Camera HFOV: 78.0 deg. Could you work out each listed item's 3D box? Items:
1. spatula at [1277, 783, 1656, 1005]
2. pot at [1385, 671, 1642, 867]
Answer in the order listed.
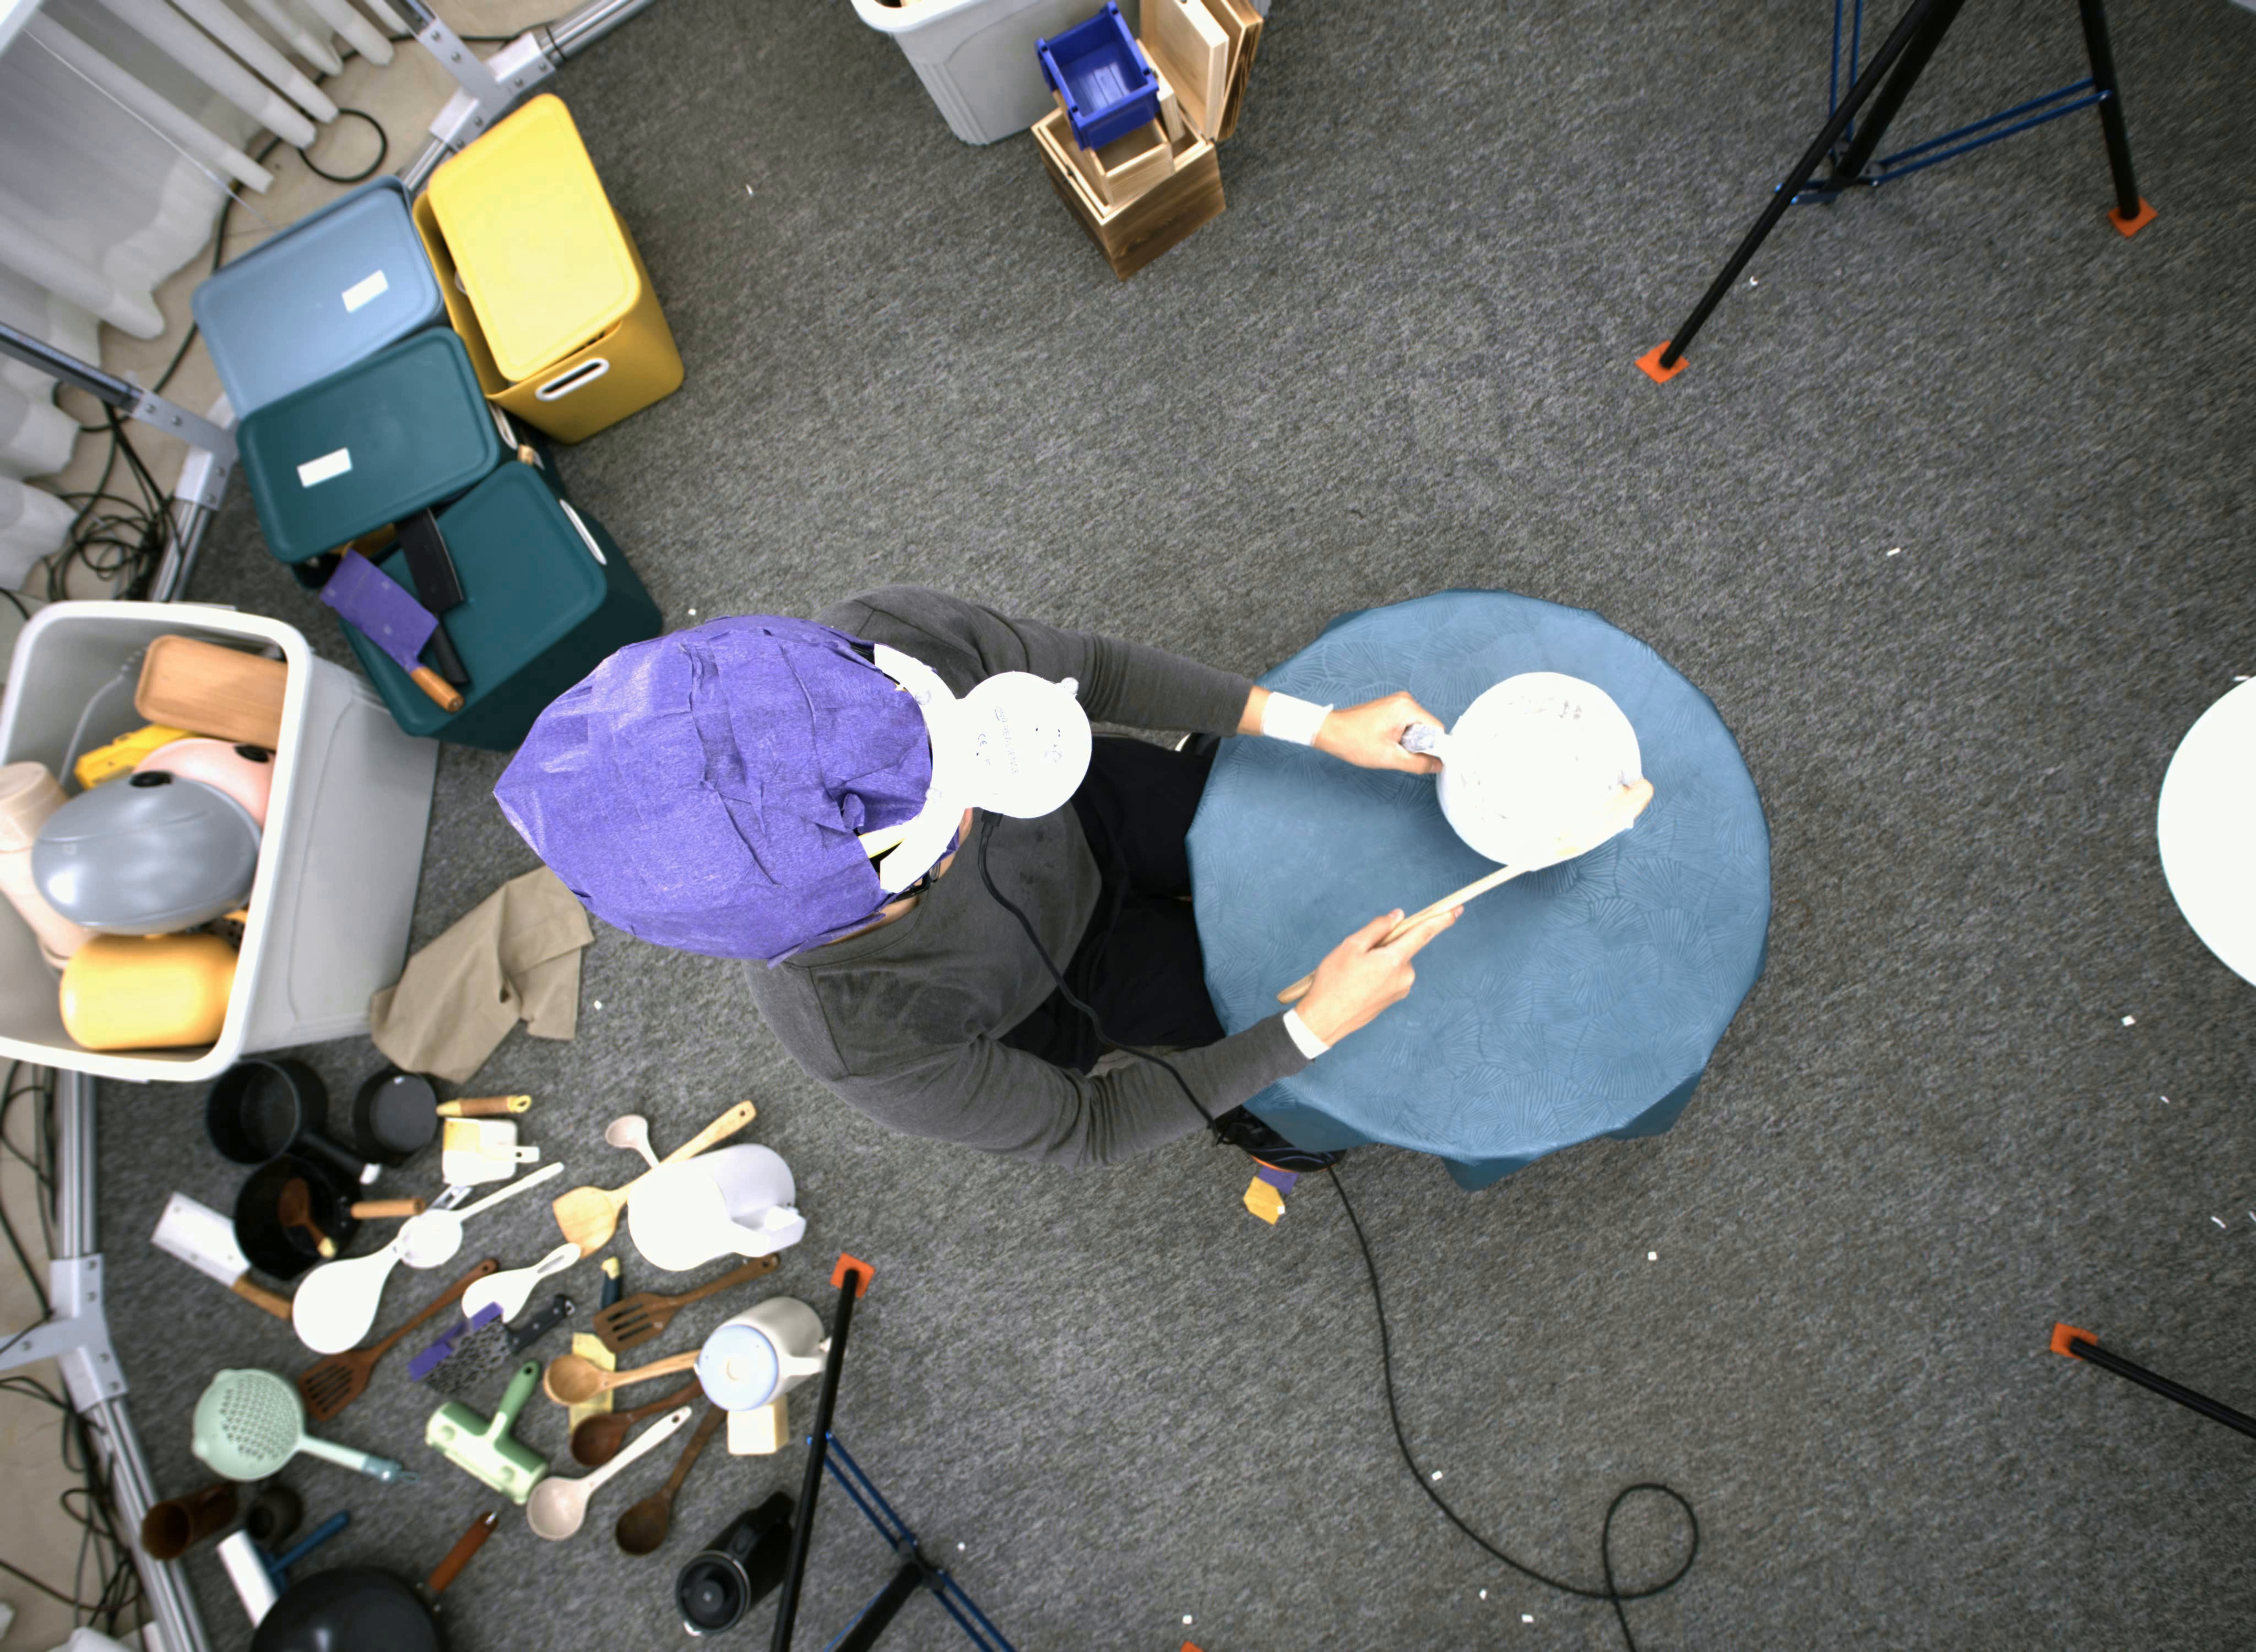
[{"bbox_3d":[0.297,0.067,1.242,0.396,0.094,0.018,-31,97,20],"label":"spatula"},{"bbox_3d":[0.368,-0.060,1.338,0.234,0.137,0.178,14,88,8],"label":"pot"}]
